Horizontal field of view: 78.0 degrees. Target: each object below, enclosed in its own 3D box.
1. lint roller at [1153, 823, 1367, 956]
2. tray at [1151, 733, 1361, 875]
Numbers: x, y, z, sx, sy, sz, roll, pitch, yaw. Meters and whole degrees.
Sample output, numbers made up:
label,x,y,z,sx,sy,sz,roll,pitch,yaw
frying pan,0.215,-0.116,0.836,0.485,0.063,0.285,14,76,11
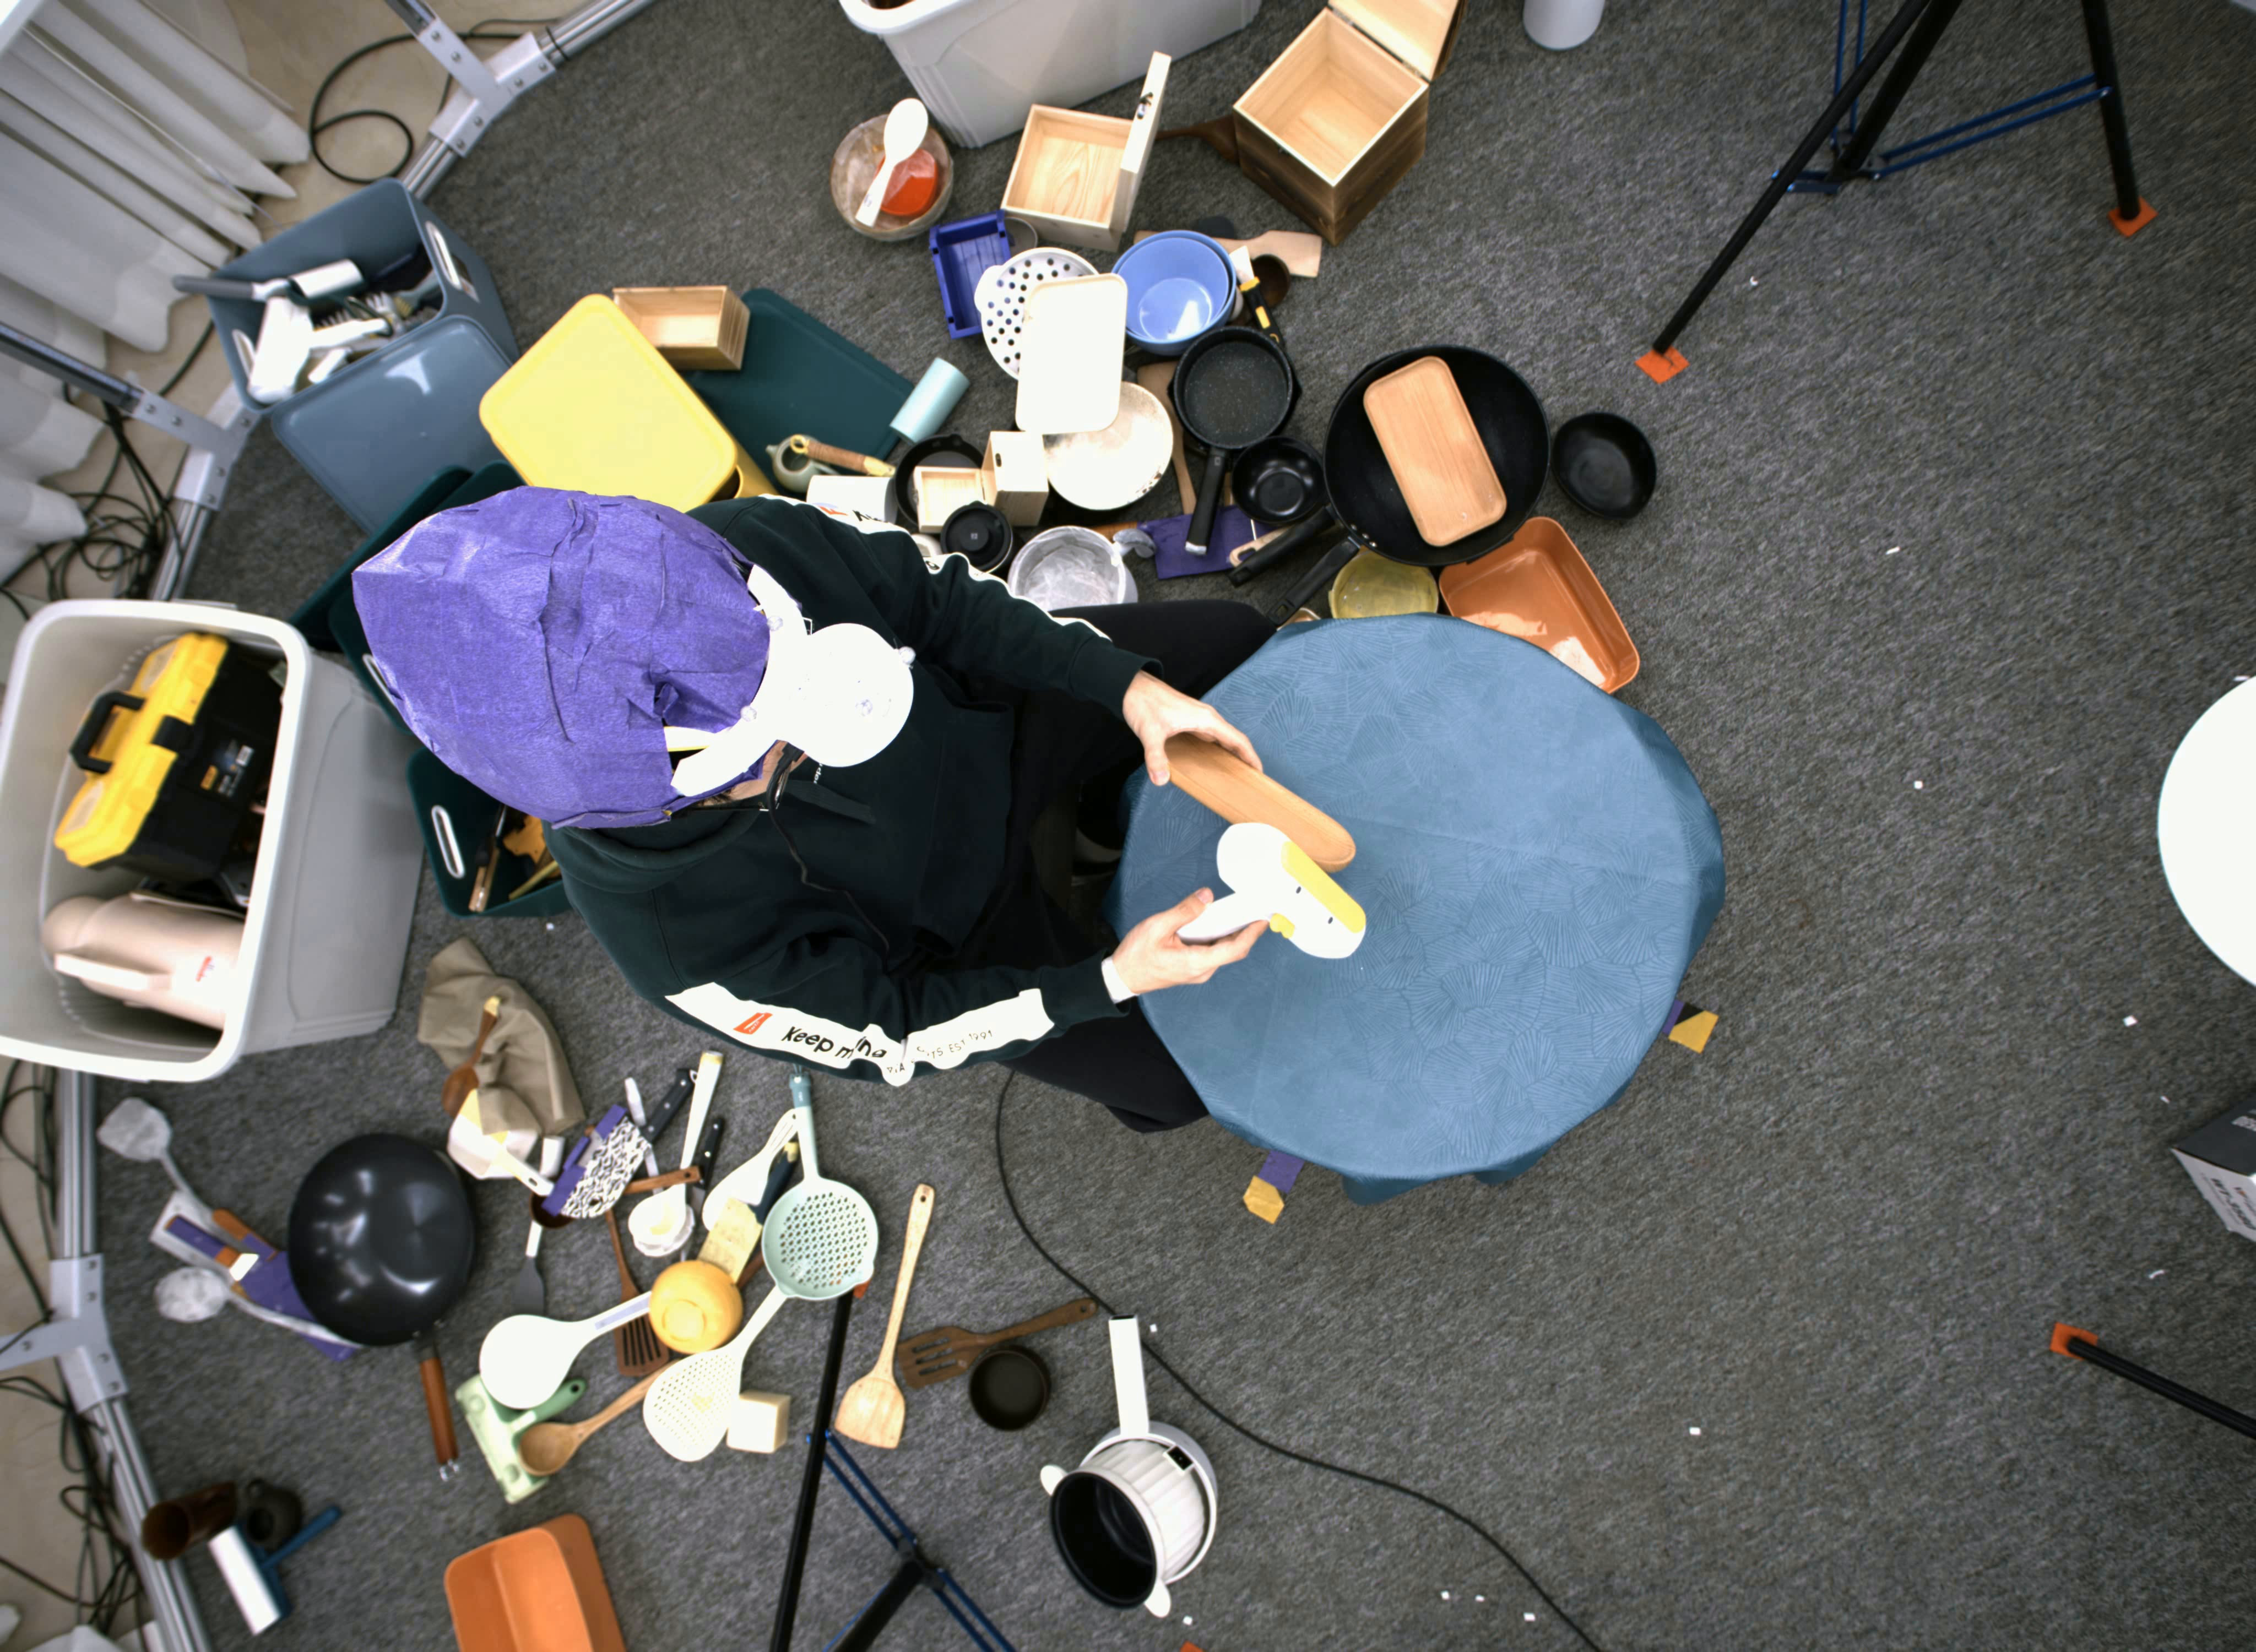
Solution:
label,x,y,z,sx,sy,sz,roll,pitch,yaw
lint roller,0.104,0.077,1.302,0.195,0.194,0.072,-16,54,40
tray,0.121,-0.023,1.335,0.230,0.100,0.021,35,125,18
